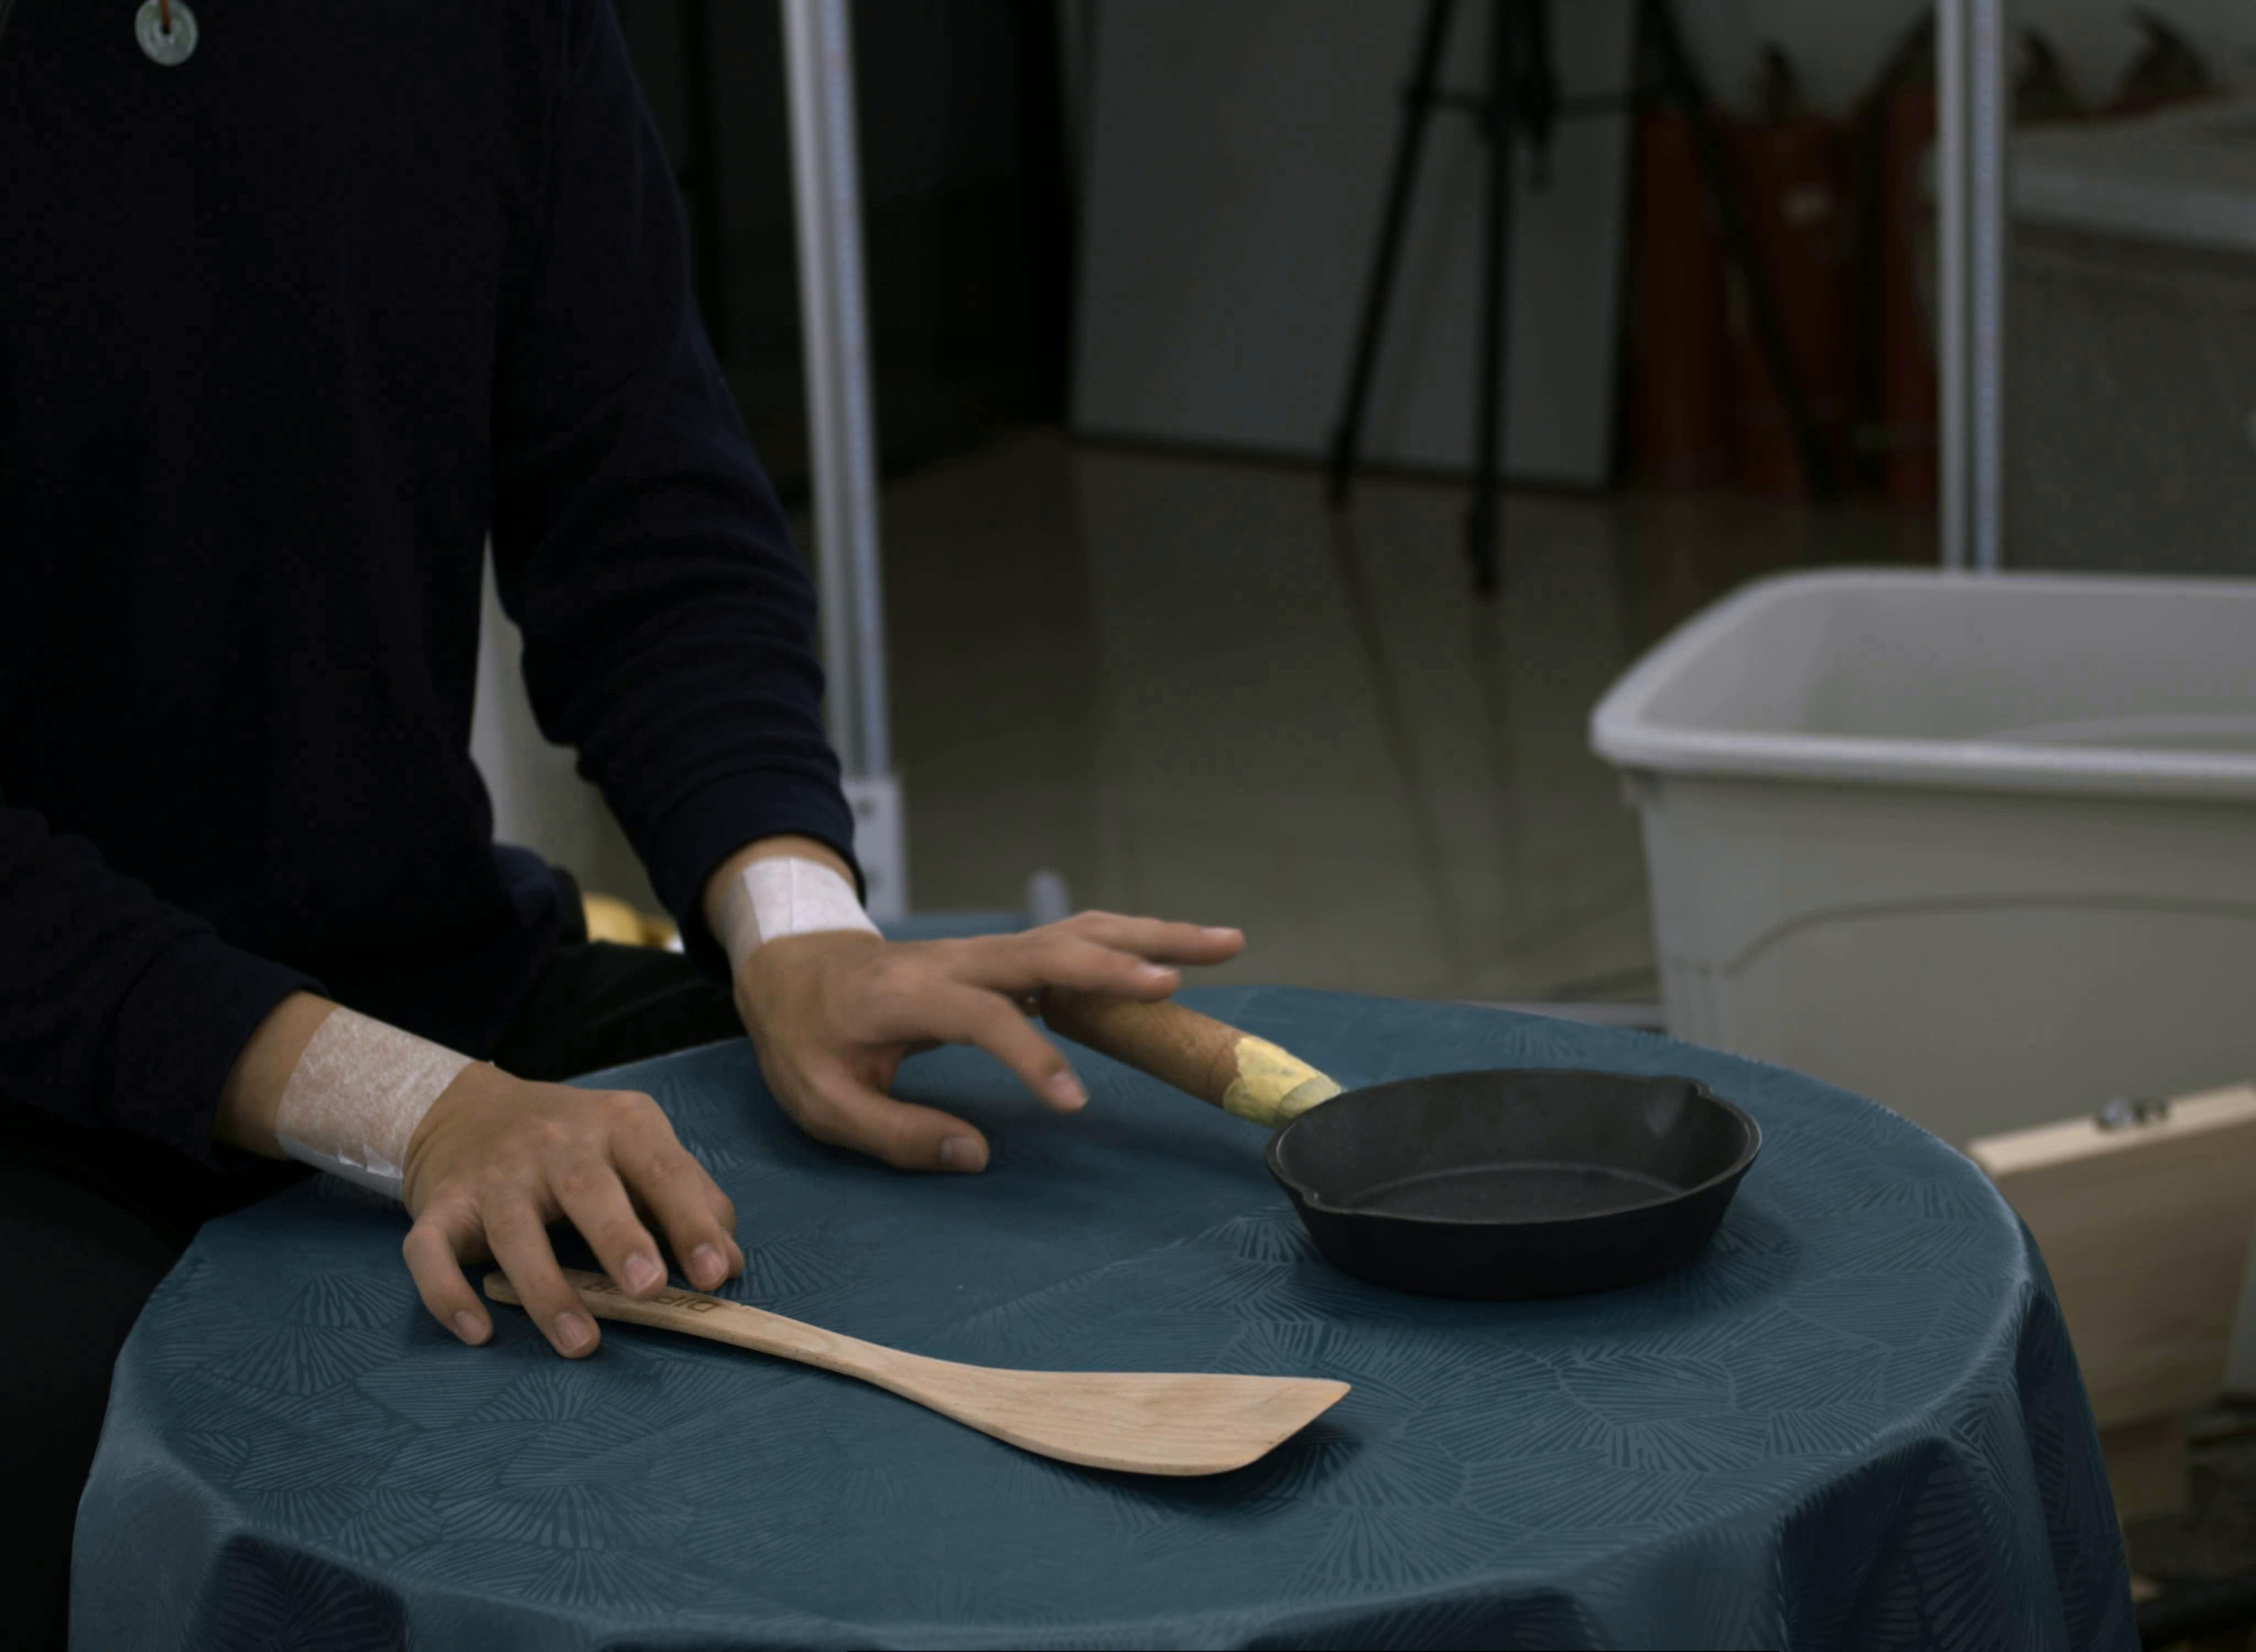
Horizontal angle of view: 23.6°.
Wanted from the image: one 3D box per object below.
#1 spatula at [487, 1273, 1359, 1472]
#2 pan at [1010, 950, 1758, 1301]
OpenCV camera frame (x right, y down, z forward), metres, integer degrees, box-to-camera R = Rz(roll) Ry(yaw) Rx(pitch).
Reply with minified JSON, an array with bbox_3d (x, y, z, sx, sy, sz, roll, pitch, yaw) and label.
[{"bbox_3d":[-0.071,0.158,1.610,0.330,0.017,0.078,7,17,39],"label":"spatula"},{"bbox_3d":[0.068,0.093,1.759,0.165,0.050,0.327,-14,18,-36],"label":"pan"}]
